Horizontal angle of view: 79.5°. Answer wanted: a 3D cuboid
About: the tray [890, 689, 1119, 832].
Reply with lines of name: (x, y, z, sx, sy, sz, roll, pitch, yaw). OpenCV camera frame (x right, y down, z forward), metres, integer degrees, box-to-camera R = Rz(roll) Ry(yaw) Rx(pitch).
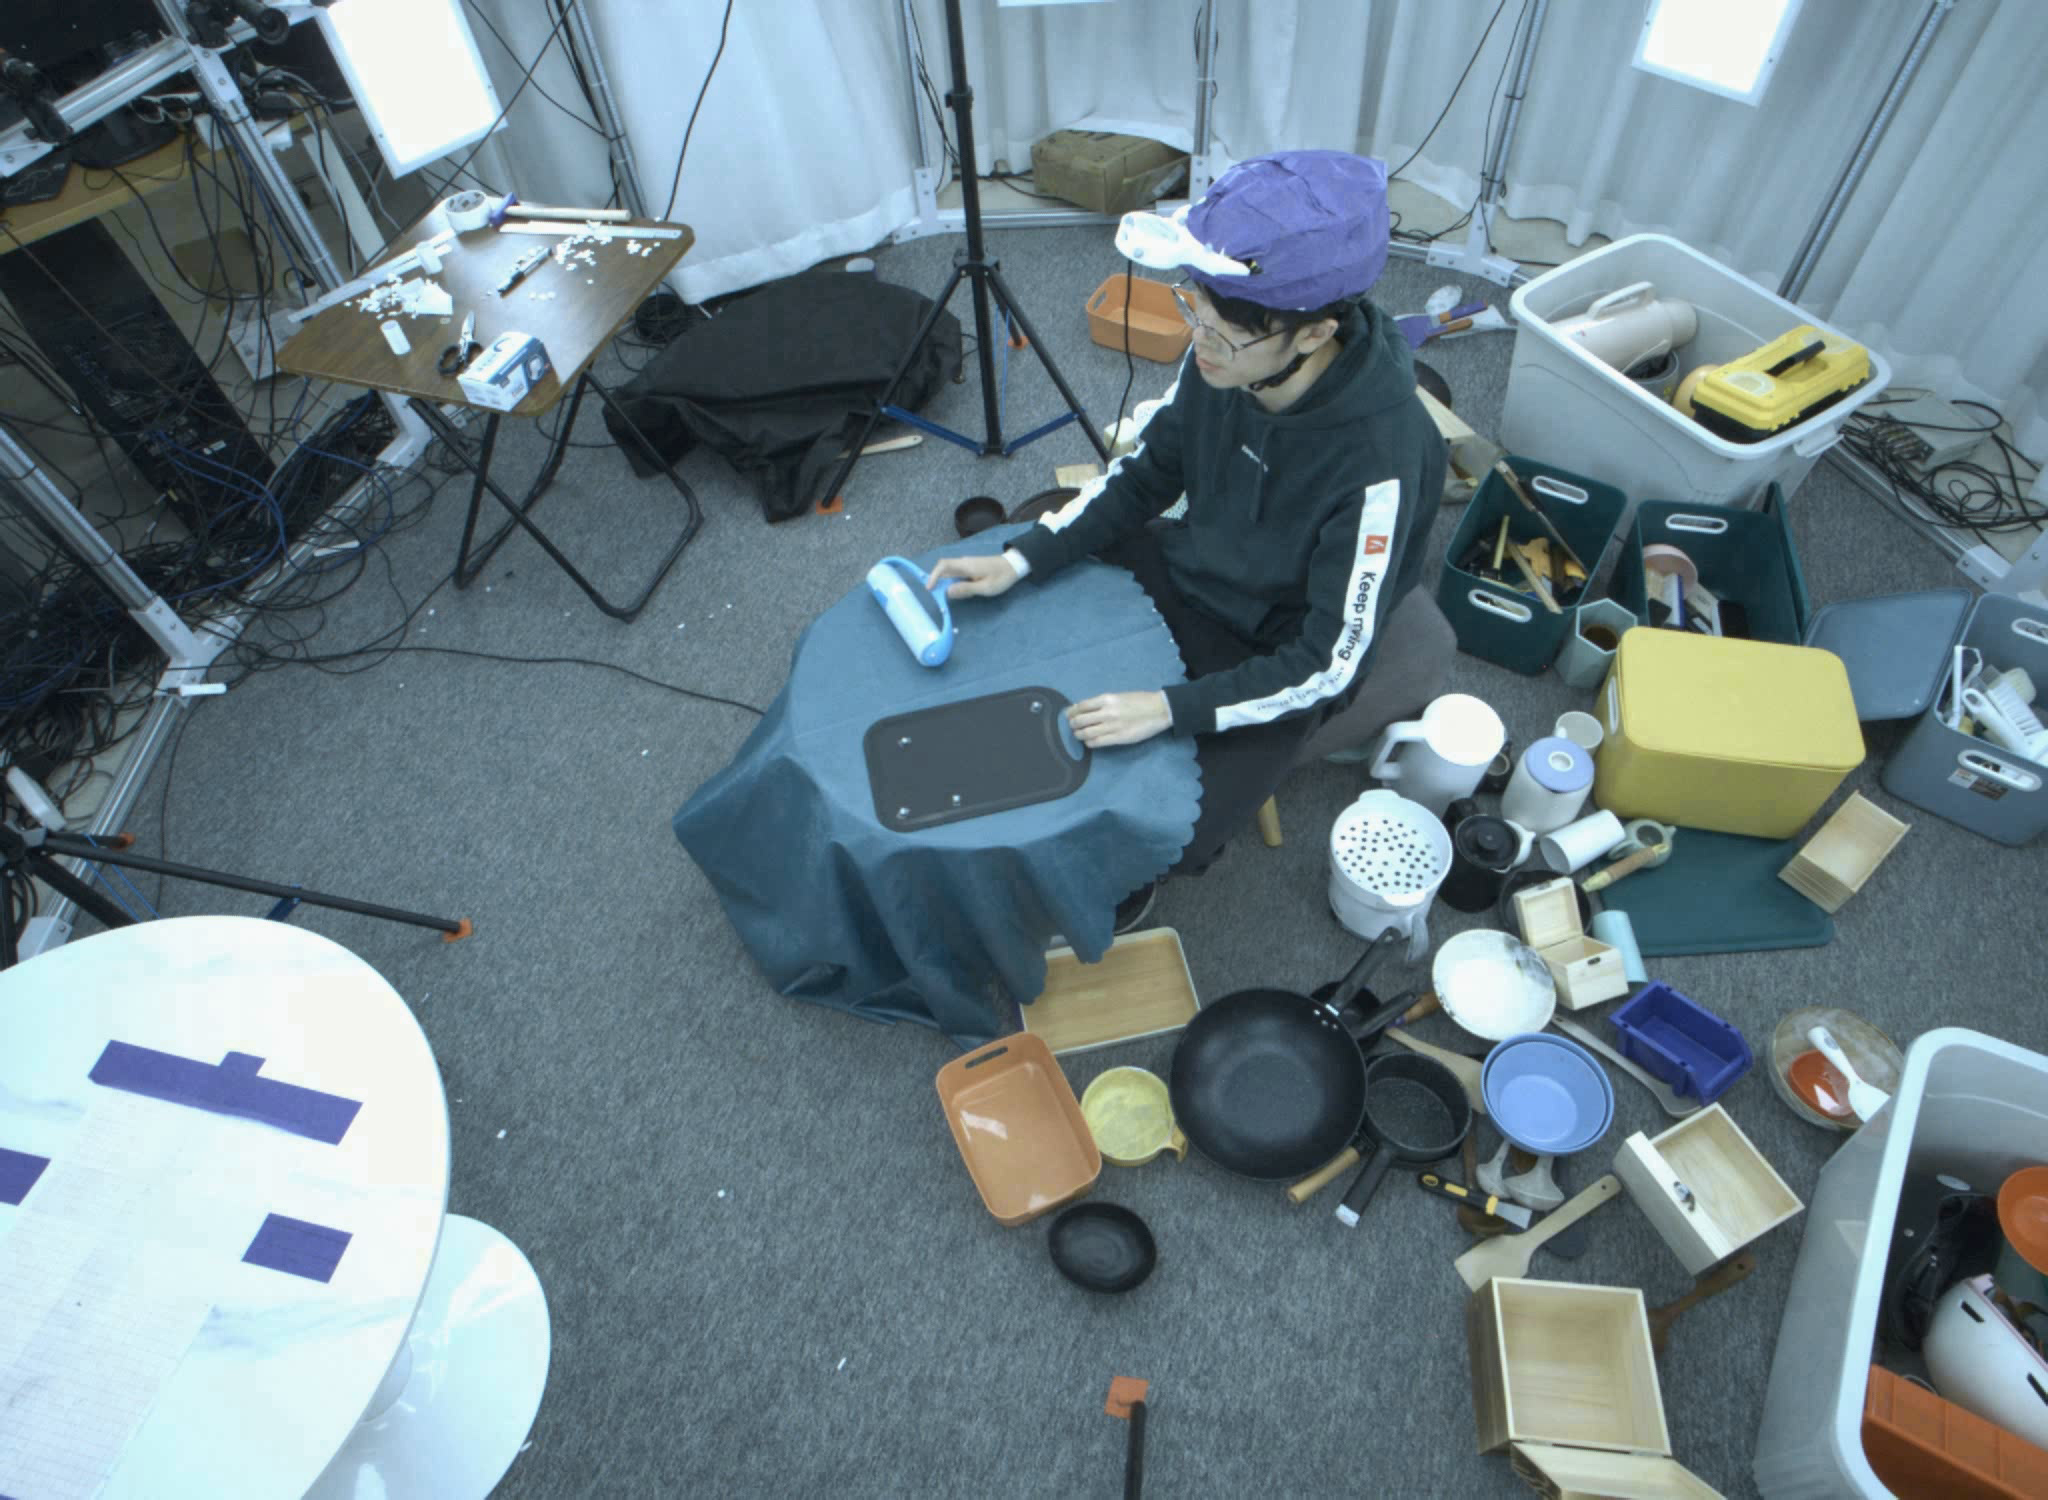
tray: (-0.026, 0.008, 1.773, 0.327, 0.010, 0.208, -10, 55, -5)

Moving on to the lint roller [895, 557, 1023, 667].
lint roller: (-0.086, -0.238, 1.920, 0.181, 0.069, 0.224, -28, 56, -15)
